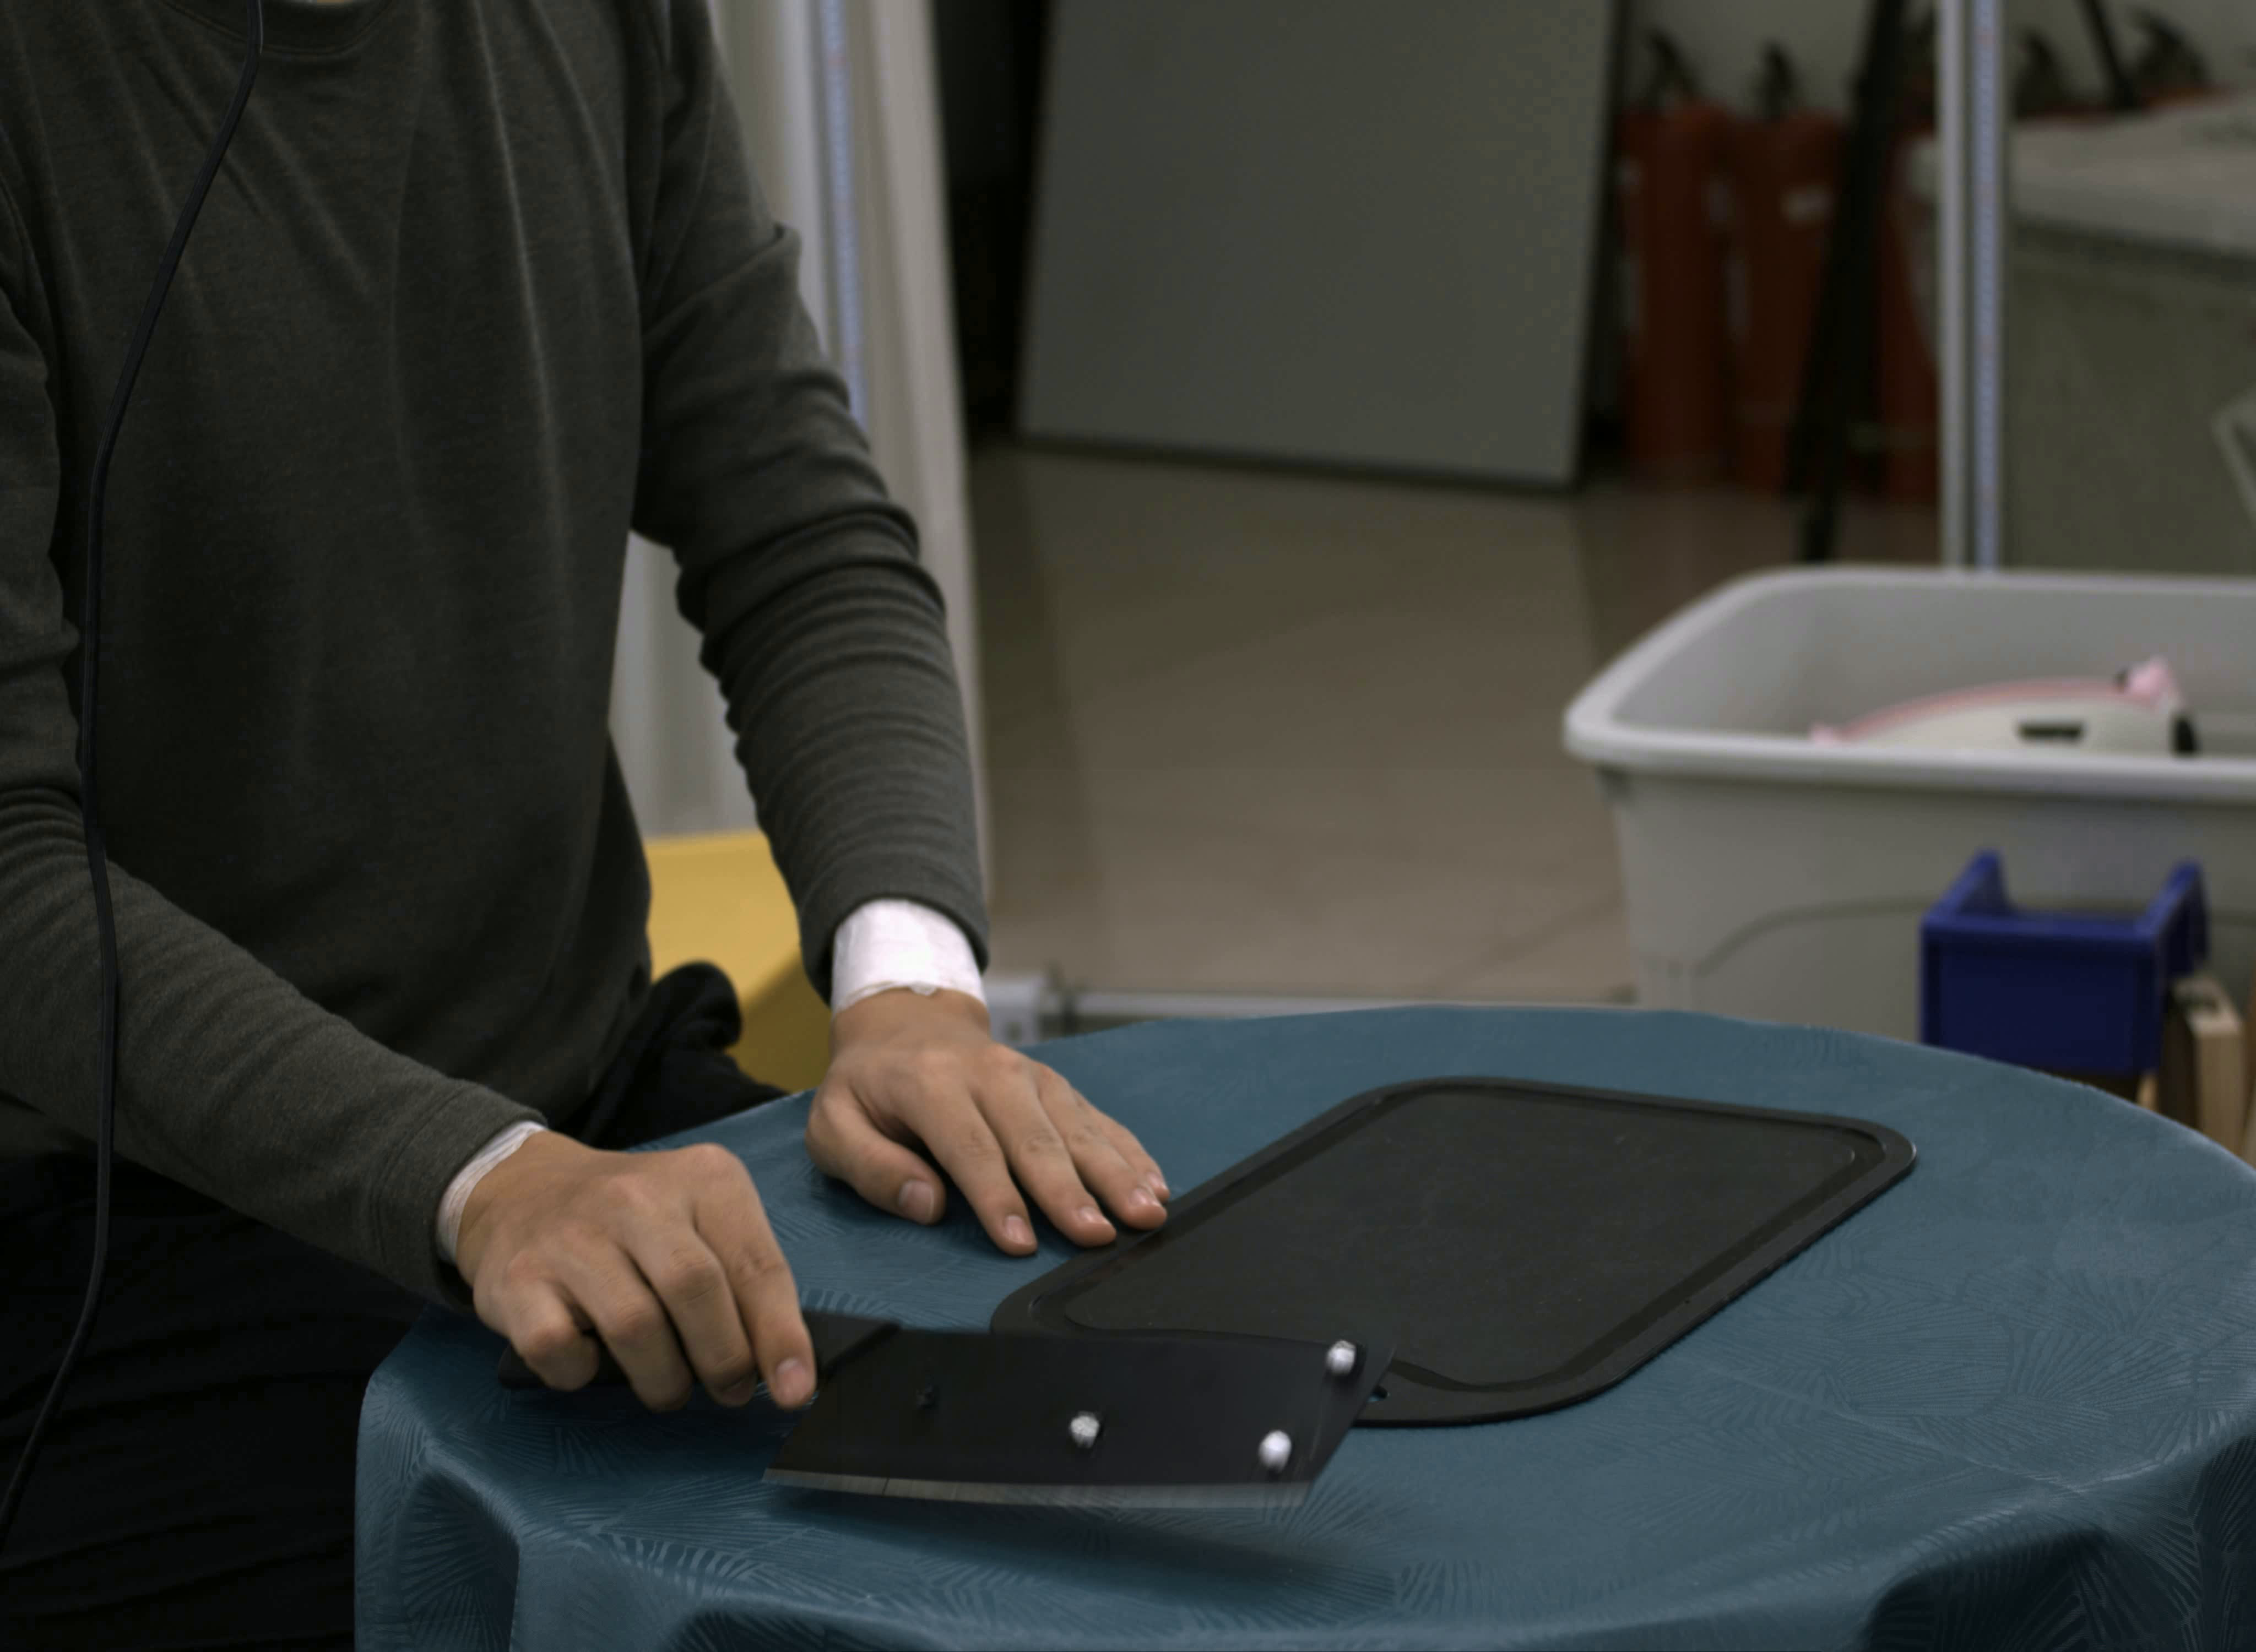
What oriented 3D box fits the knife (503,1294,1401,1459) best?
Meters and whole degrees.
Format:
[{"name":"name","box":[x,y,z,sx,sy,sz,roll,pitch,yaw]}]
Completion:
[{"name":"knife","box":[-0.059,0.154,1.522,0.304,0.021,0.080,-1,32,38]}]

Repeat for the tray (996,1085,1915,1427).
[{"name":"tray","box":[0.103,0.131,1.693,0.212,0.010,0.320,4,16,33]}]
